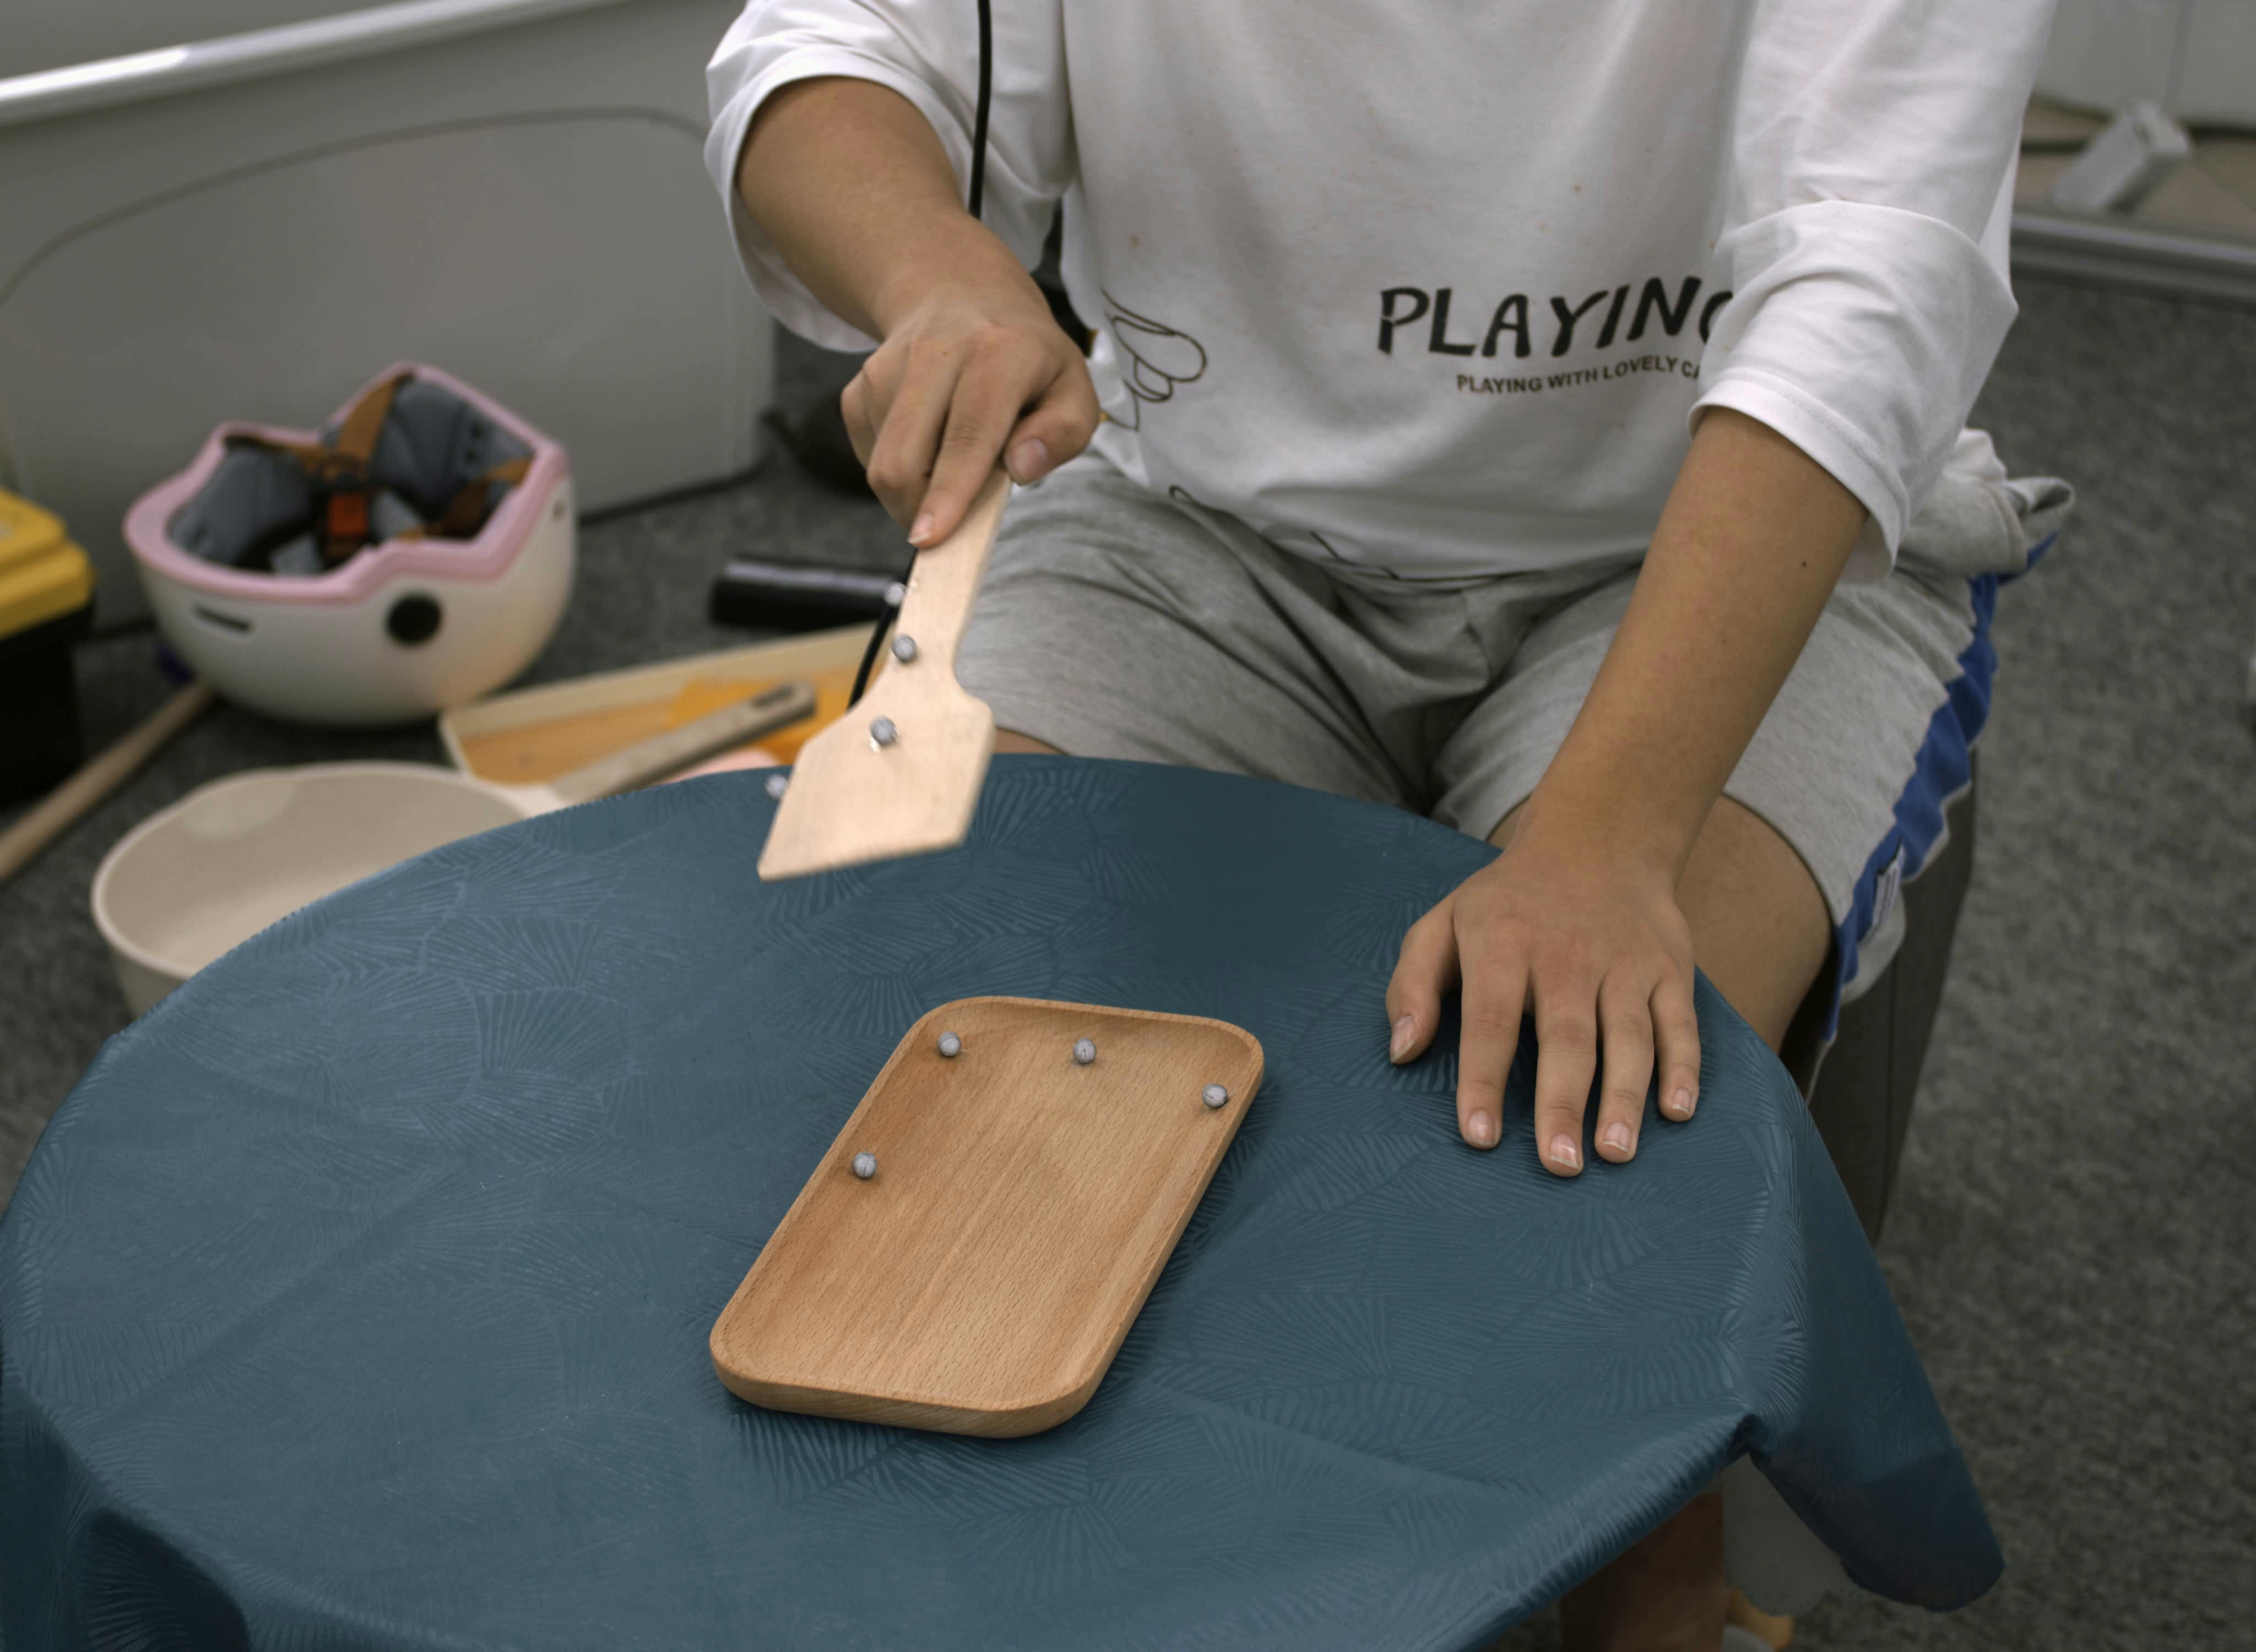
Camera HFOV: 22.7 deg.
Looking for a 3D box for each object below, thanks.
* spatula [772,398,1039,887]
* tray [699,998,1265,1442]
[{"bbox_3d":[-0.064,-0.067,1.906,0.071,0.010,0.298,-9,32,15],"label":"spatula"},{"bbox_3d":[-0.044,0.126,1.842,0.129,0.022,0.255,4,28,18],"label":"tray"}]
